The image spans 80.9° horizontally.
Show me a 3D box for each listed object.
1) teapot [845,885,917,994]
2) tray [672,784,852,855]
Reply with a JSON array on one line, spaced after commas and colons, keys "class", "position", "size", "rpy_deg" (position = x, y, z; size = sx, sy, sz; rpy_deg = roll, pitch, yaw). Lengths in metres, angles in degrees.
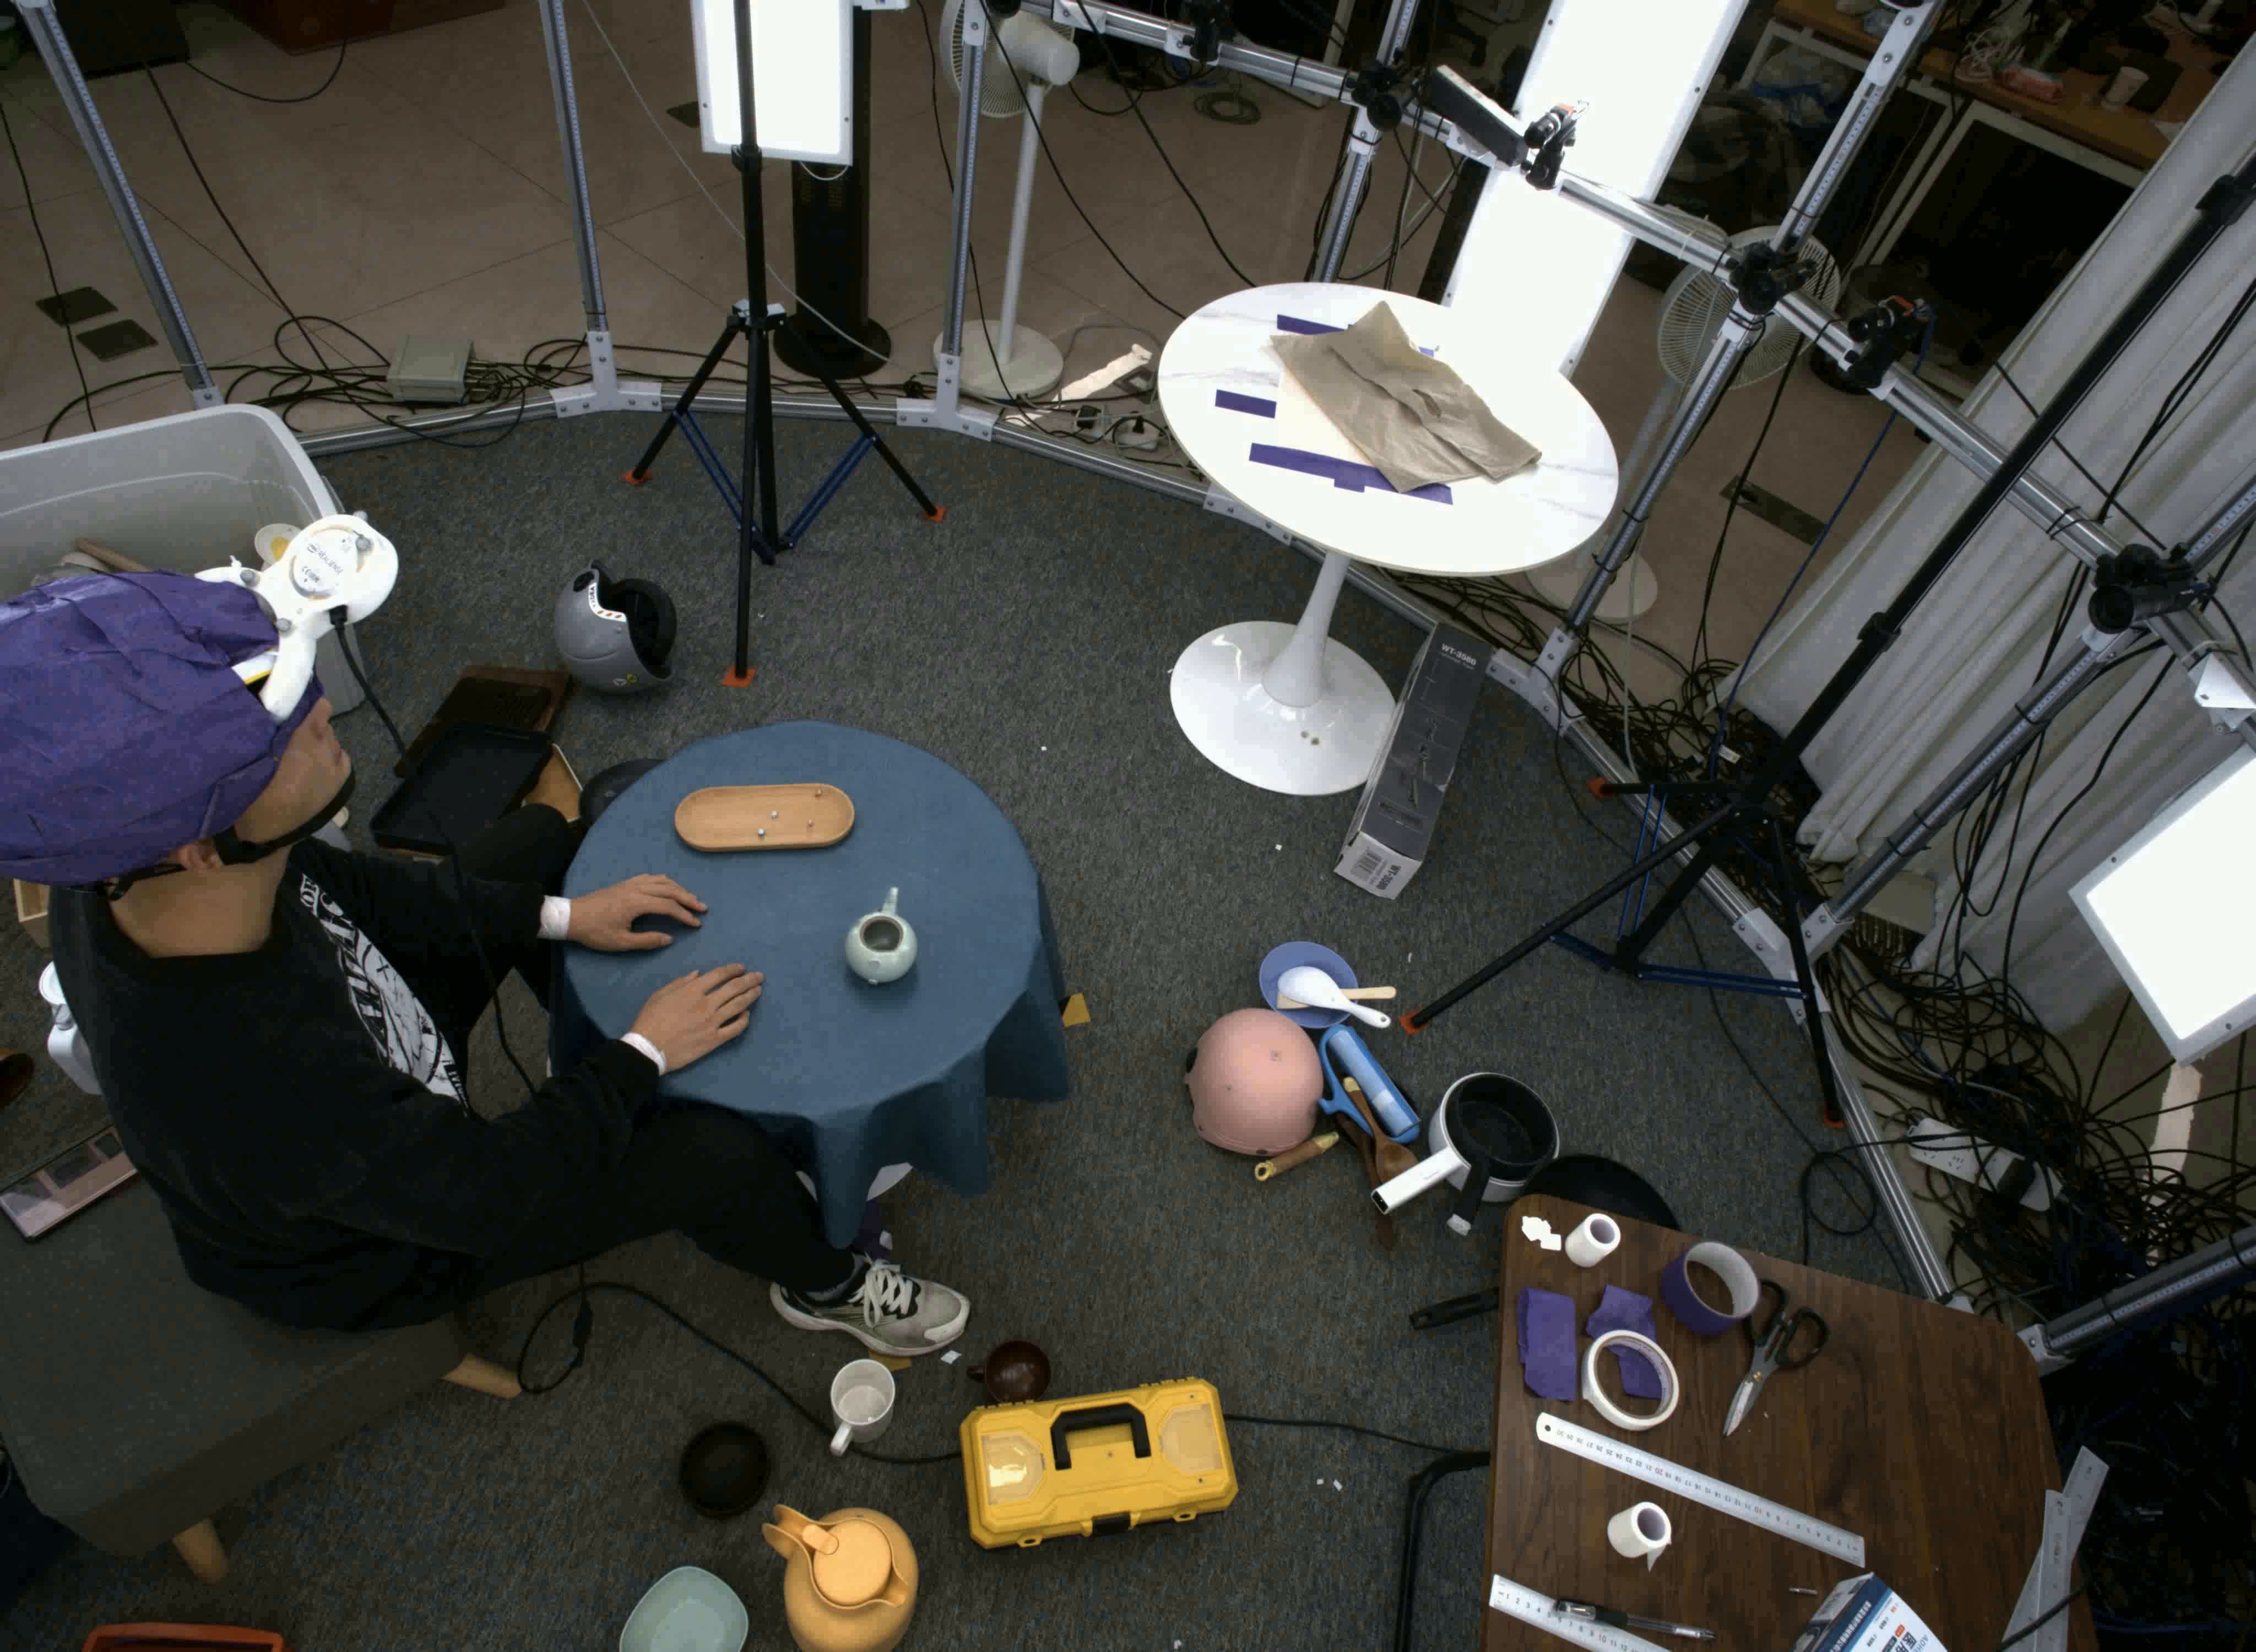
[{"class": "teapot", "position": [-0.304, 0.146, 1.597], "size": [0.088, 0.076, 0.141], "rpy_deg": [12, 50, -2]}, {"class": "tray", "position": [-0.481, -0.010, 1.704], "size": [0.231, 0.021, 0.099], "rpy_deg": [-4, 54, -16]}]
